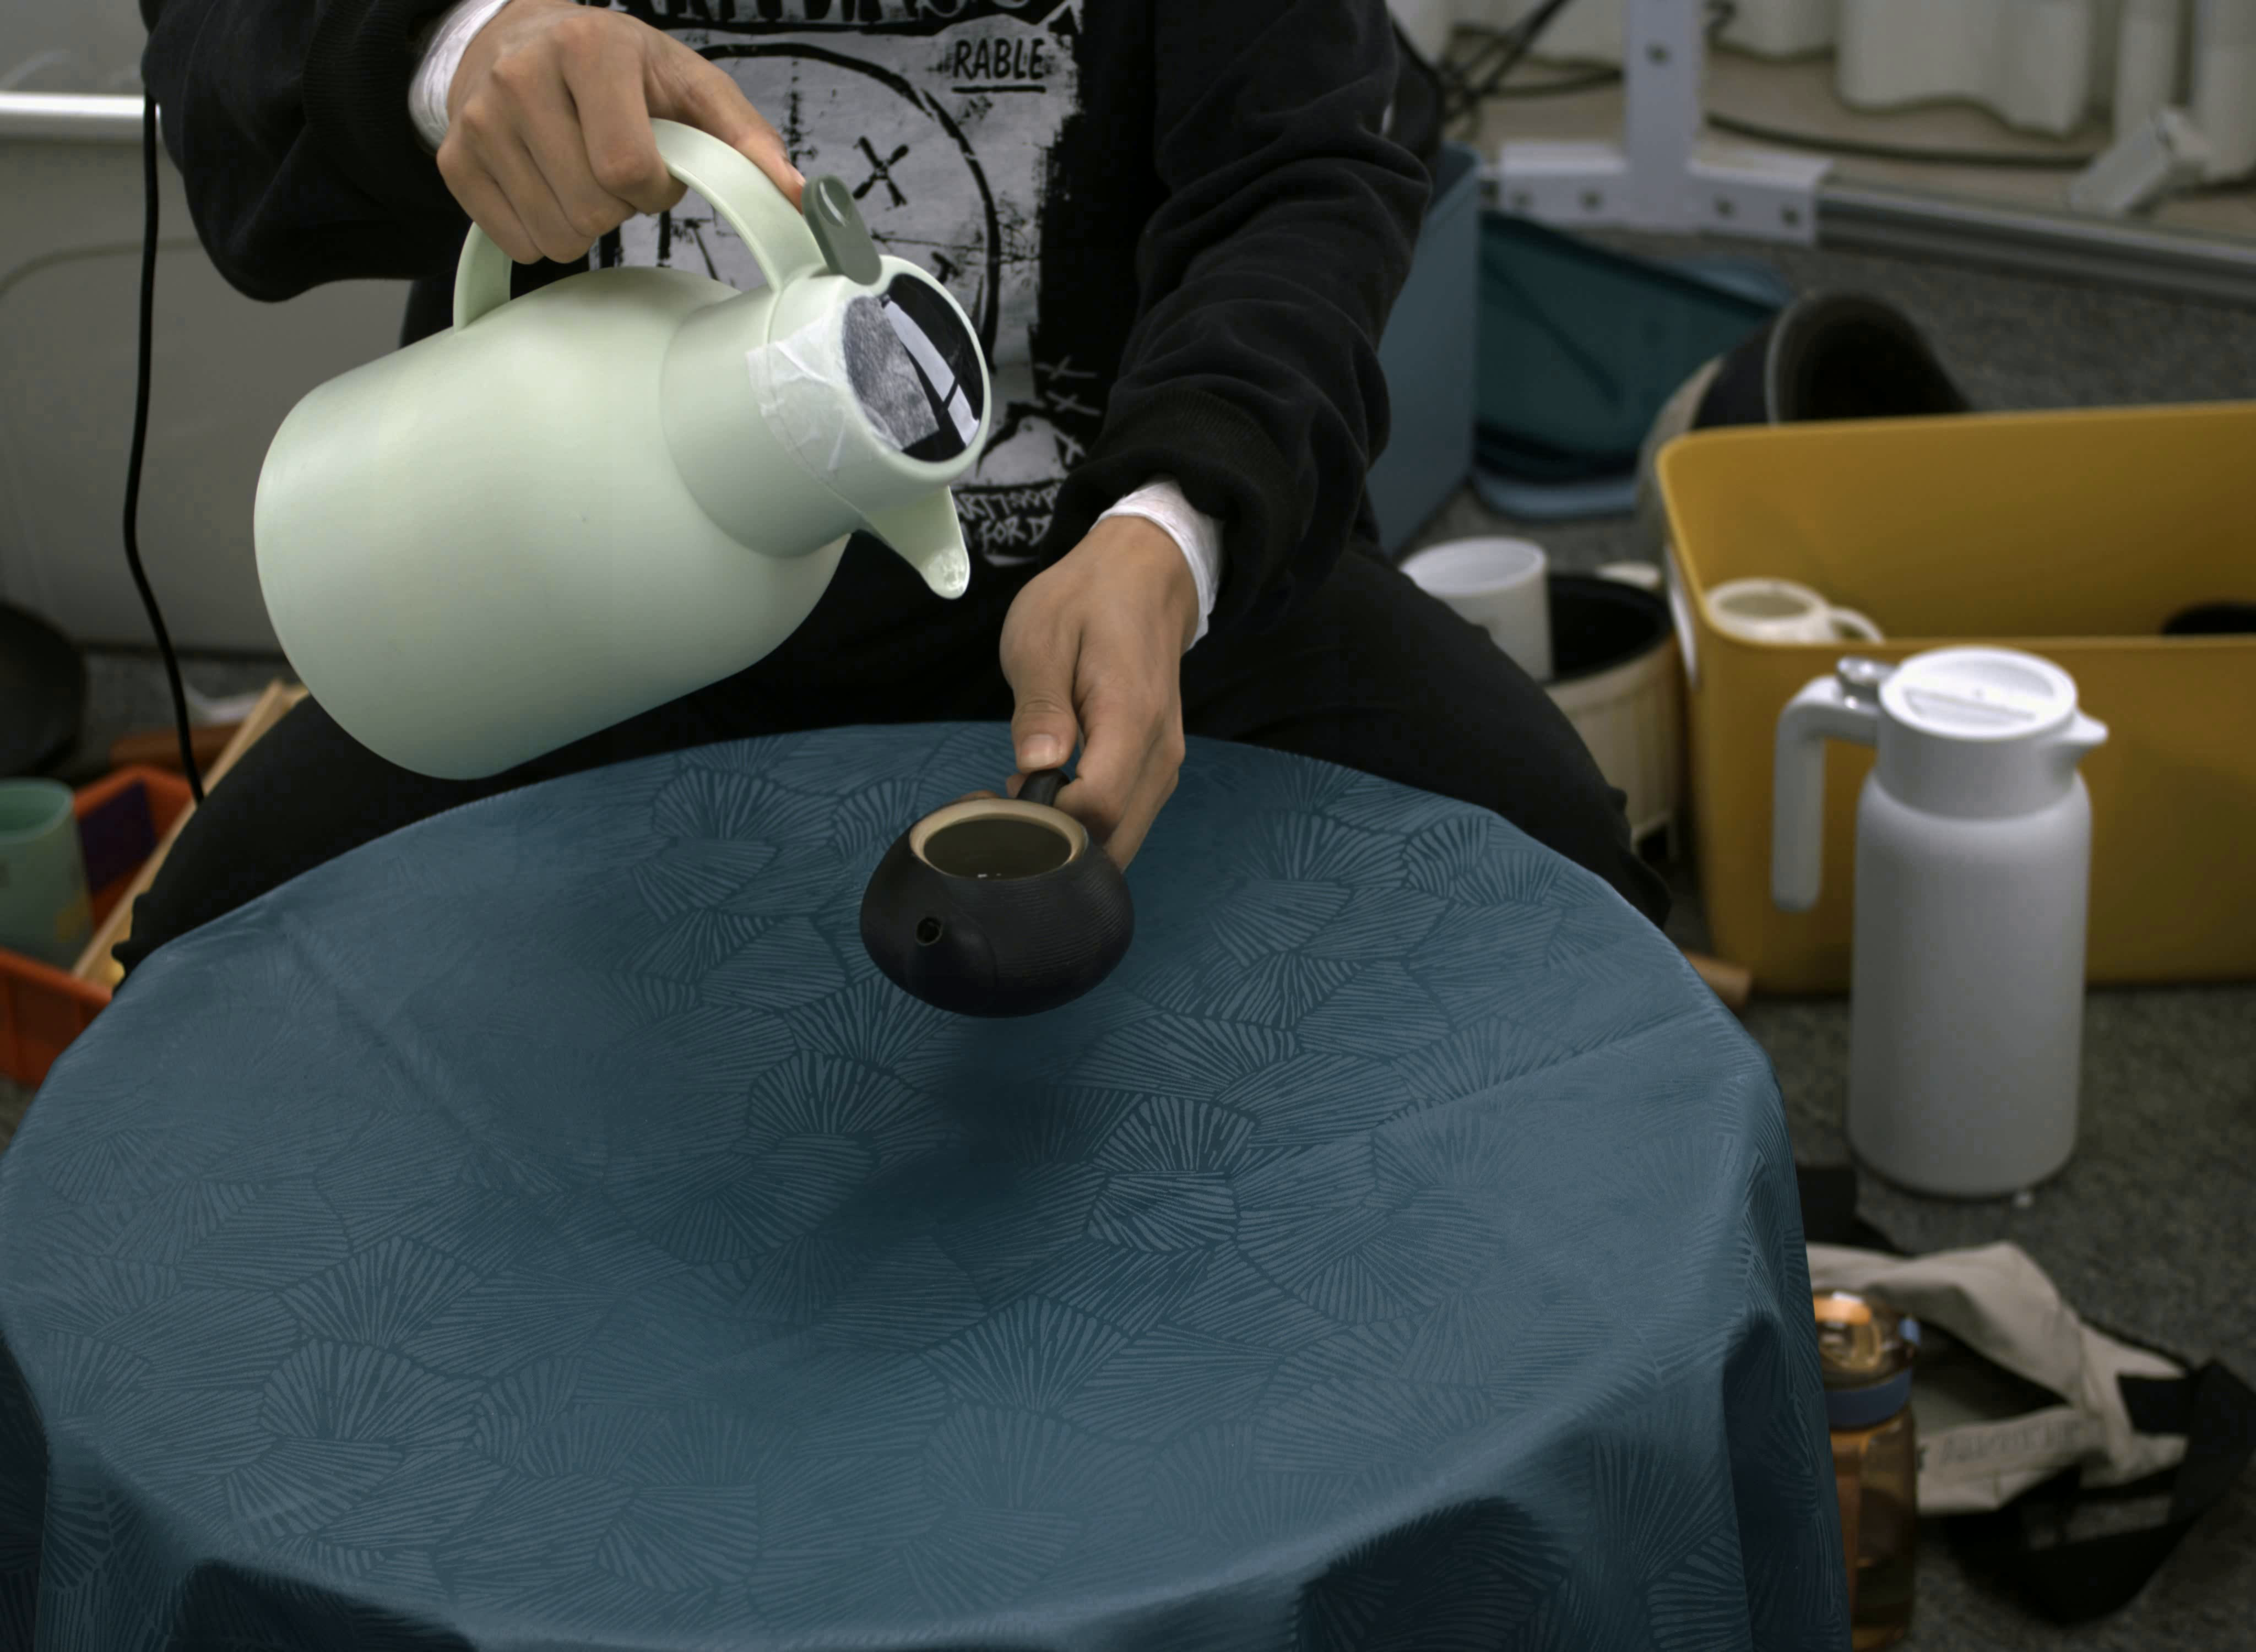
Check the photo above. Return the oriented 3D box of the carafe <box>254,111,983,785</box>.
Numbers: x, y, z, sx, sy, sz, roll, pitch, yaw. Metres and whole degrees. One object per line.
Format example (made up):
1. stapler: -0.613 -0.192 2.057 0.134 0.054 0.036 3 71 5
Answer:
1. carafe: -0.167 -0.127 1.845 0.253 0.187 0.146 -25 6 39

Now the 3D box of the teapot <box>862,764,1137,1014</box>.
1. teapot: -0.042 0.026 1.842 0.090 0.052 0.135 10 29 15
